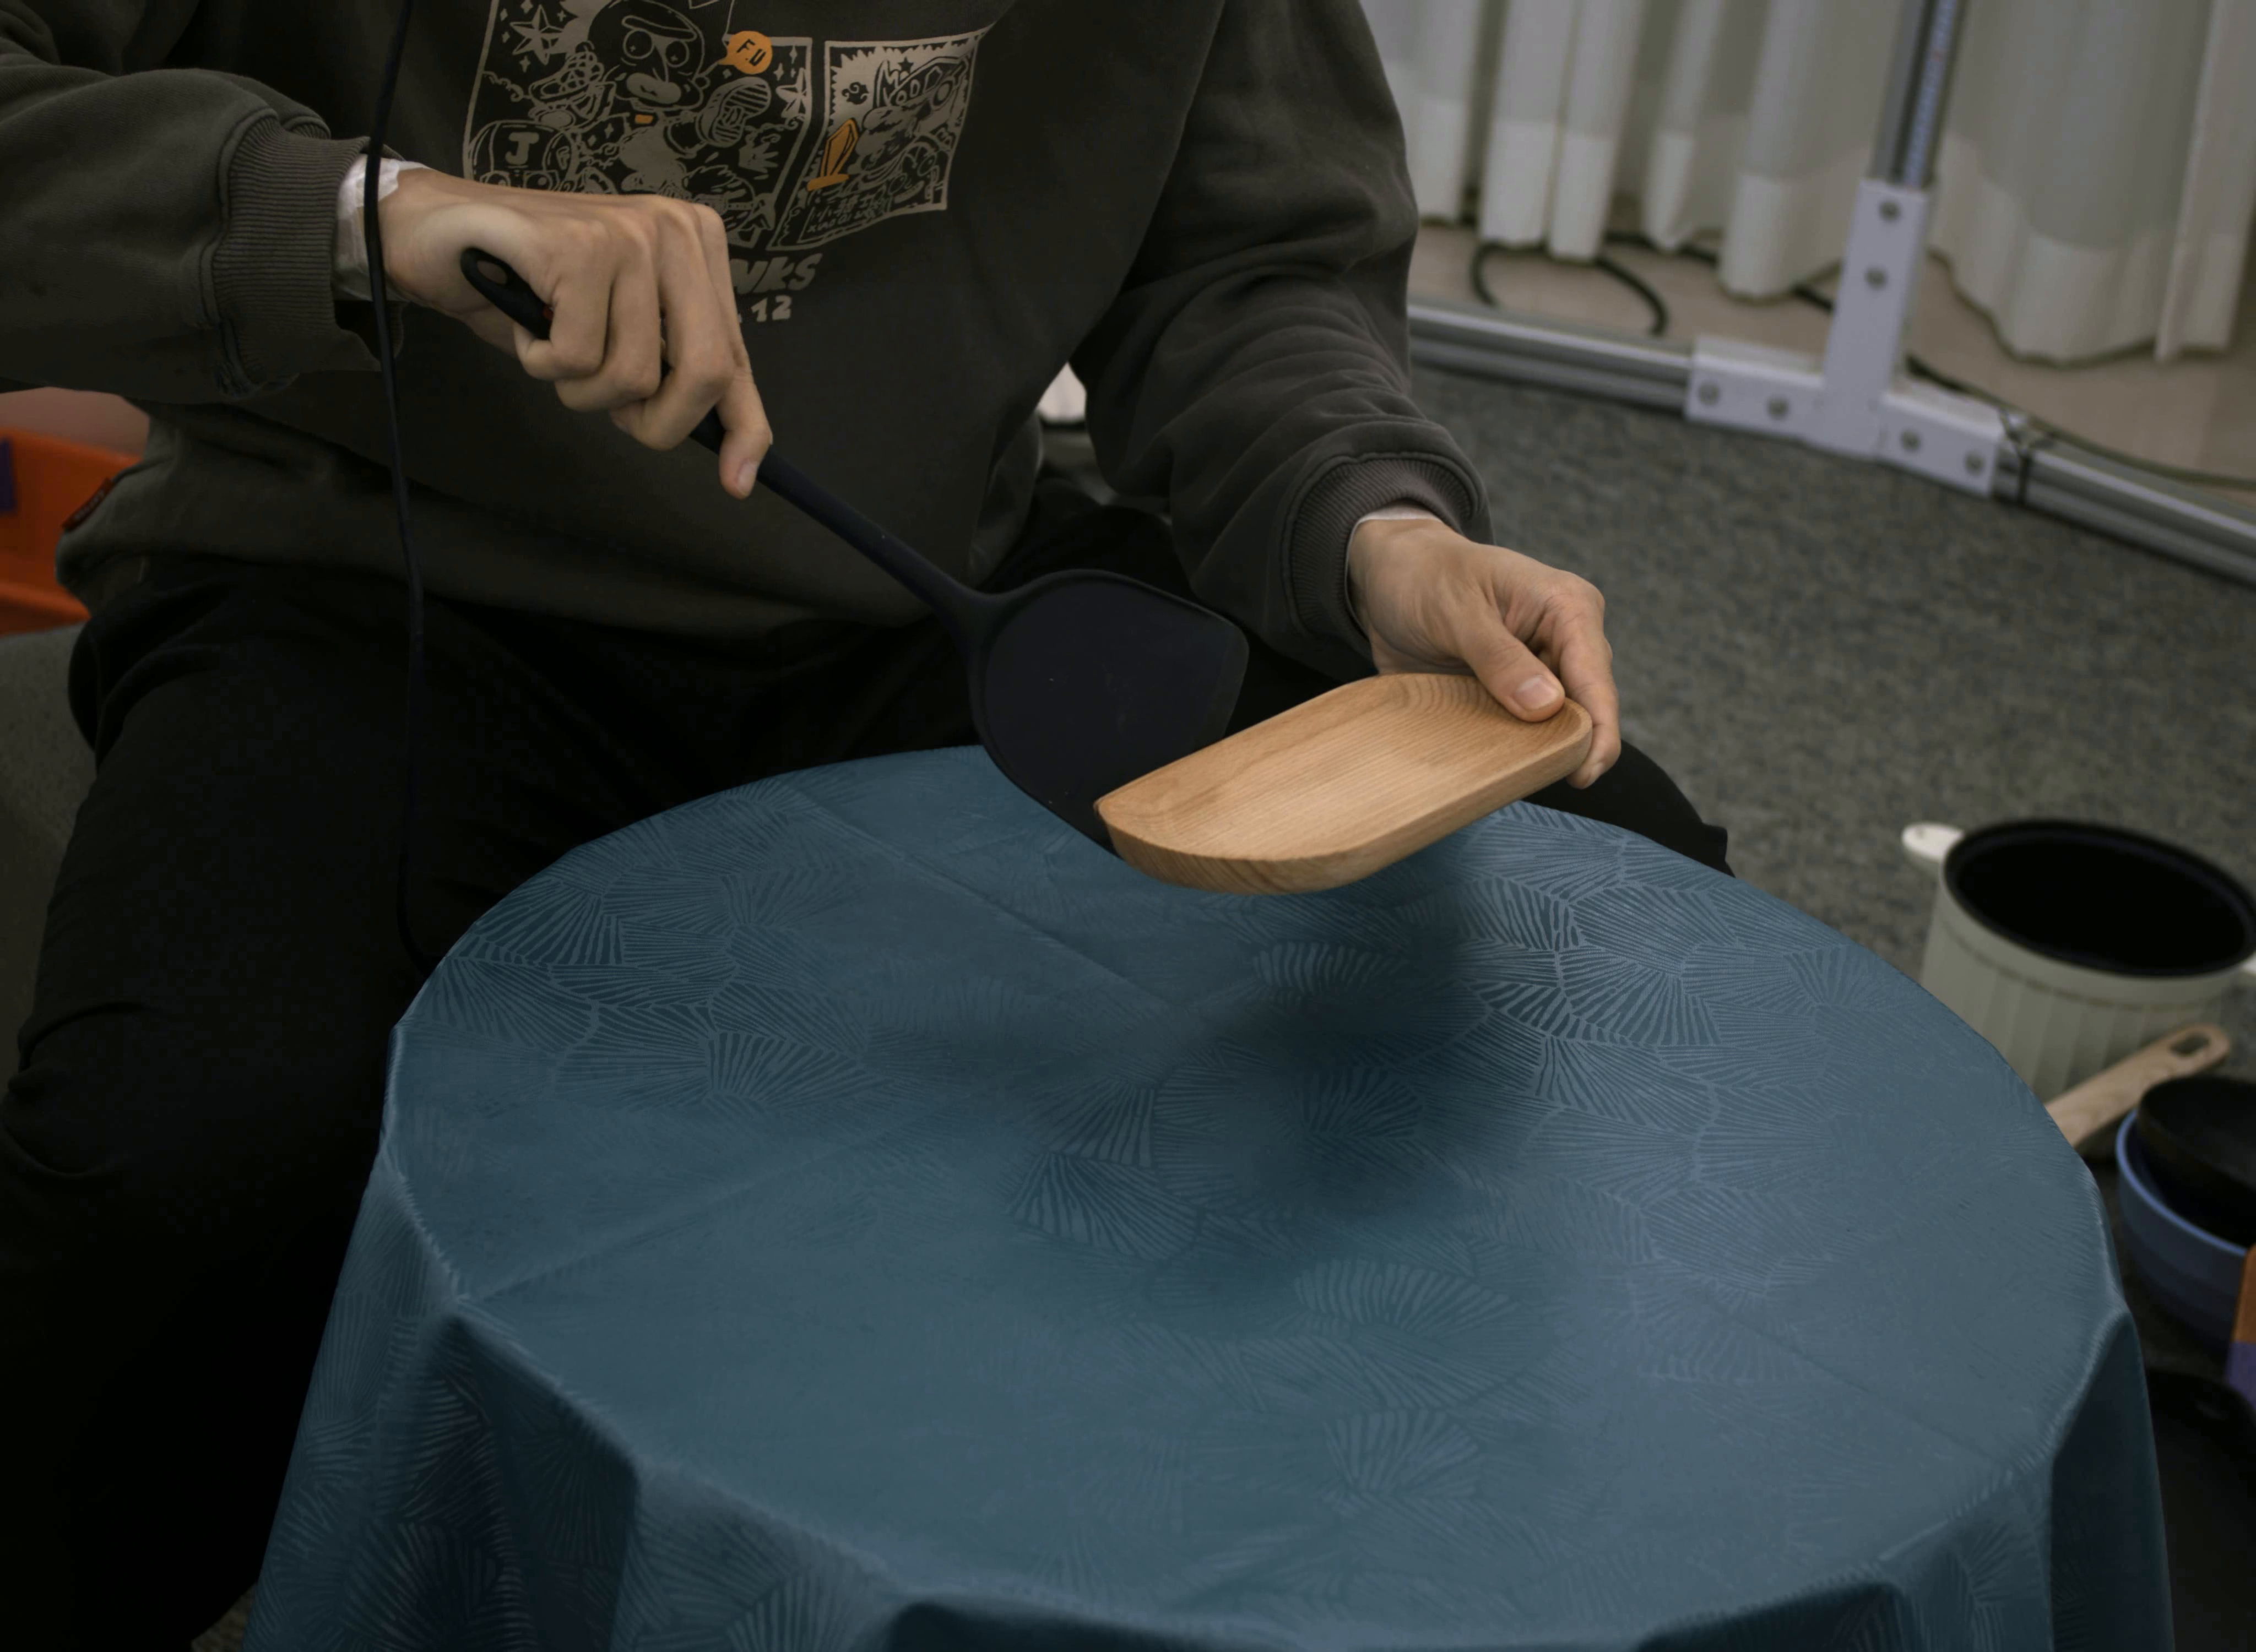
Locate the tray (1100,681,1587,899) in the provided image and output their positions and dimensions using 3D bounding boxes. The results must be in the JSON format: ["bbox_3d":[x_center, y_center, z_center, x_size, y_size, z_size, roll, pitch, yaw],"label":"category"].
[{"bbox_3d":[0.078,-0.014,1.876,0.102,0.020,0.230,13,23,33],"label":"tray"}]

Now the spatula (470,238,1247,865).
[{"bbox_3d":[-0.095,-0.107,1.832,0.323,0.100,0.040,37,-22,-28],"label":"spatula"}]
